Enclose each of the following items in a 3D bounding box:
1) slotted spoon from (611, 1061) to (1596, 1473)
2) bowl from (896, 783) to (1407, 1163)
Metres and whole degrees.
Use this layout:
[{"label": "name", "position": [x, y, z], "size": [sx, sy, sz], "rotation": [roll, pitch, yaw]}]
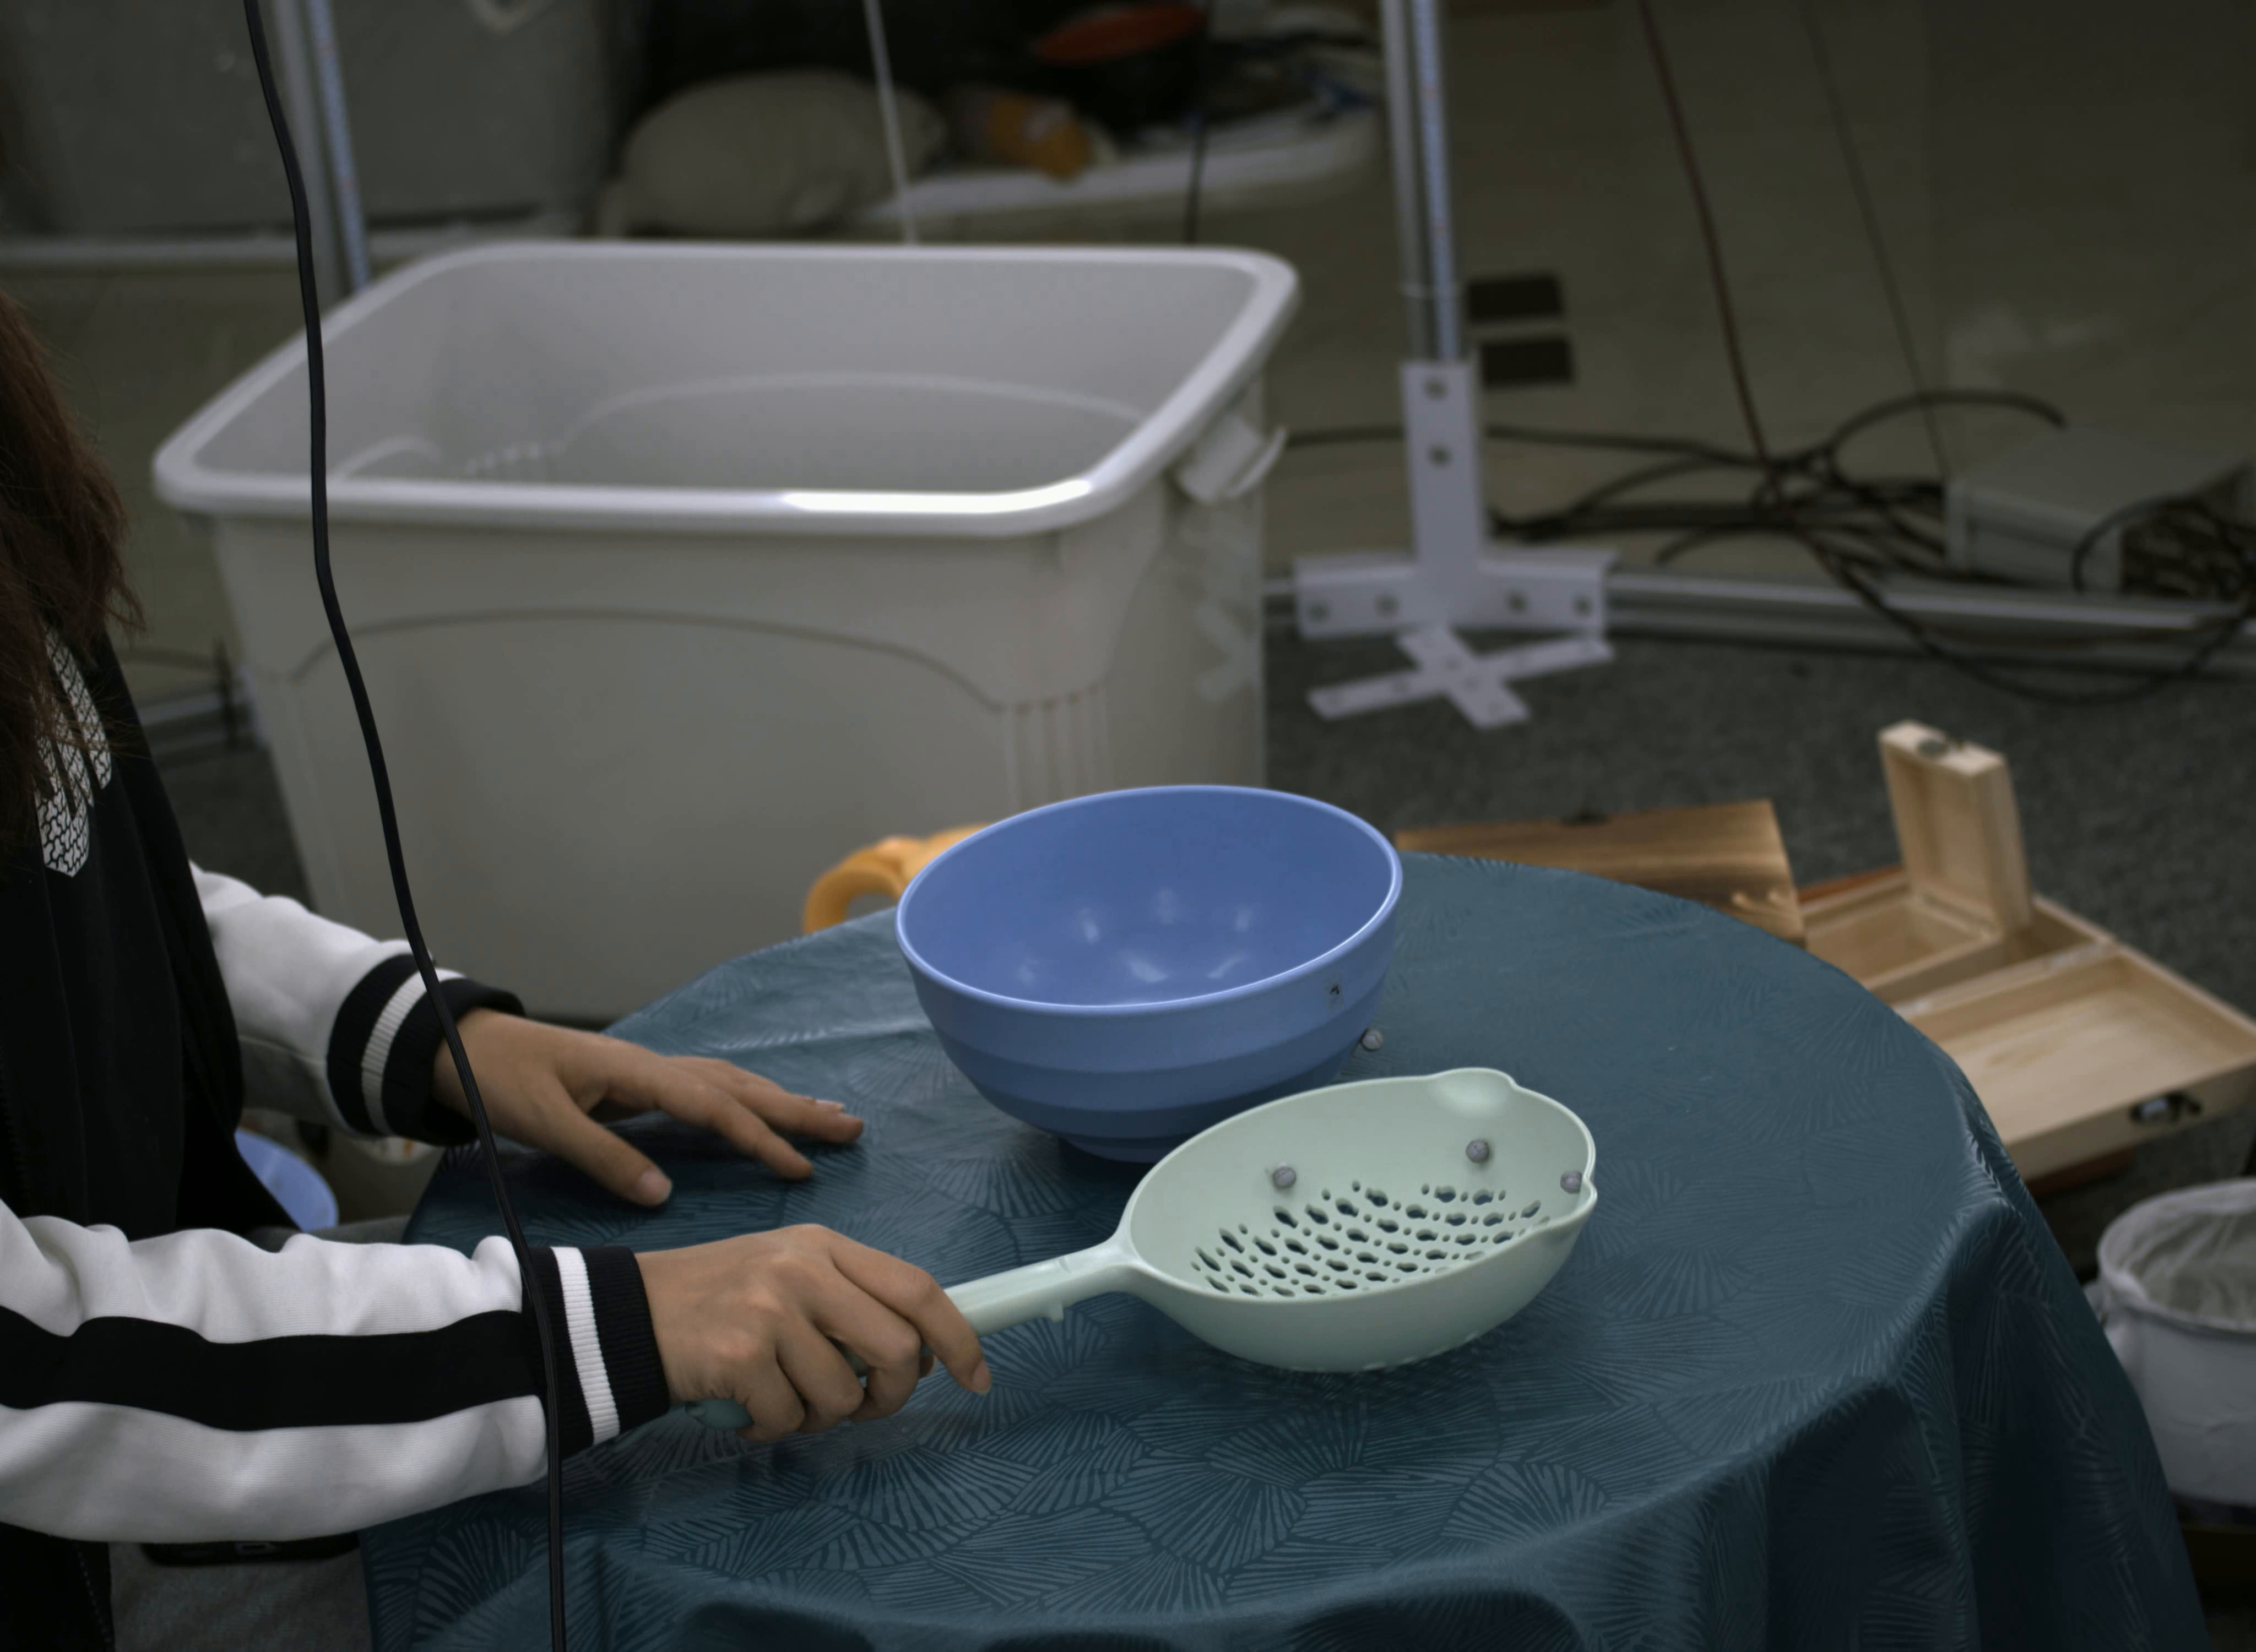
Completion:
[{"label": "slotted spoon", "position": [-0.009, 0.166, 2.009], "size": [0.358, 0.076, 0.167], "rotation": [-8, 23, -9]}, {"label": "bowl", "position": [0.013, 0.067, 2.184], "size": [0.196, 0.097, 0.193], "rotation": [-5, 26, 3]}]
